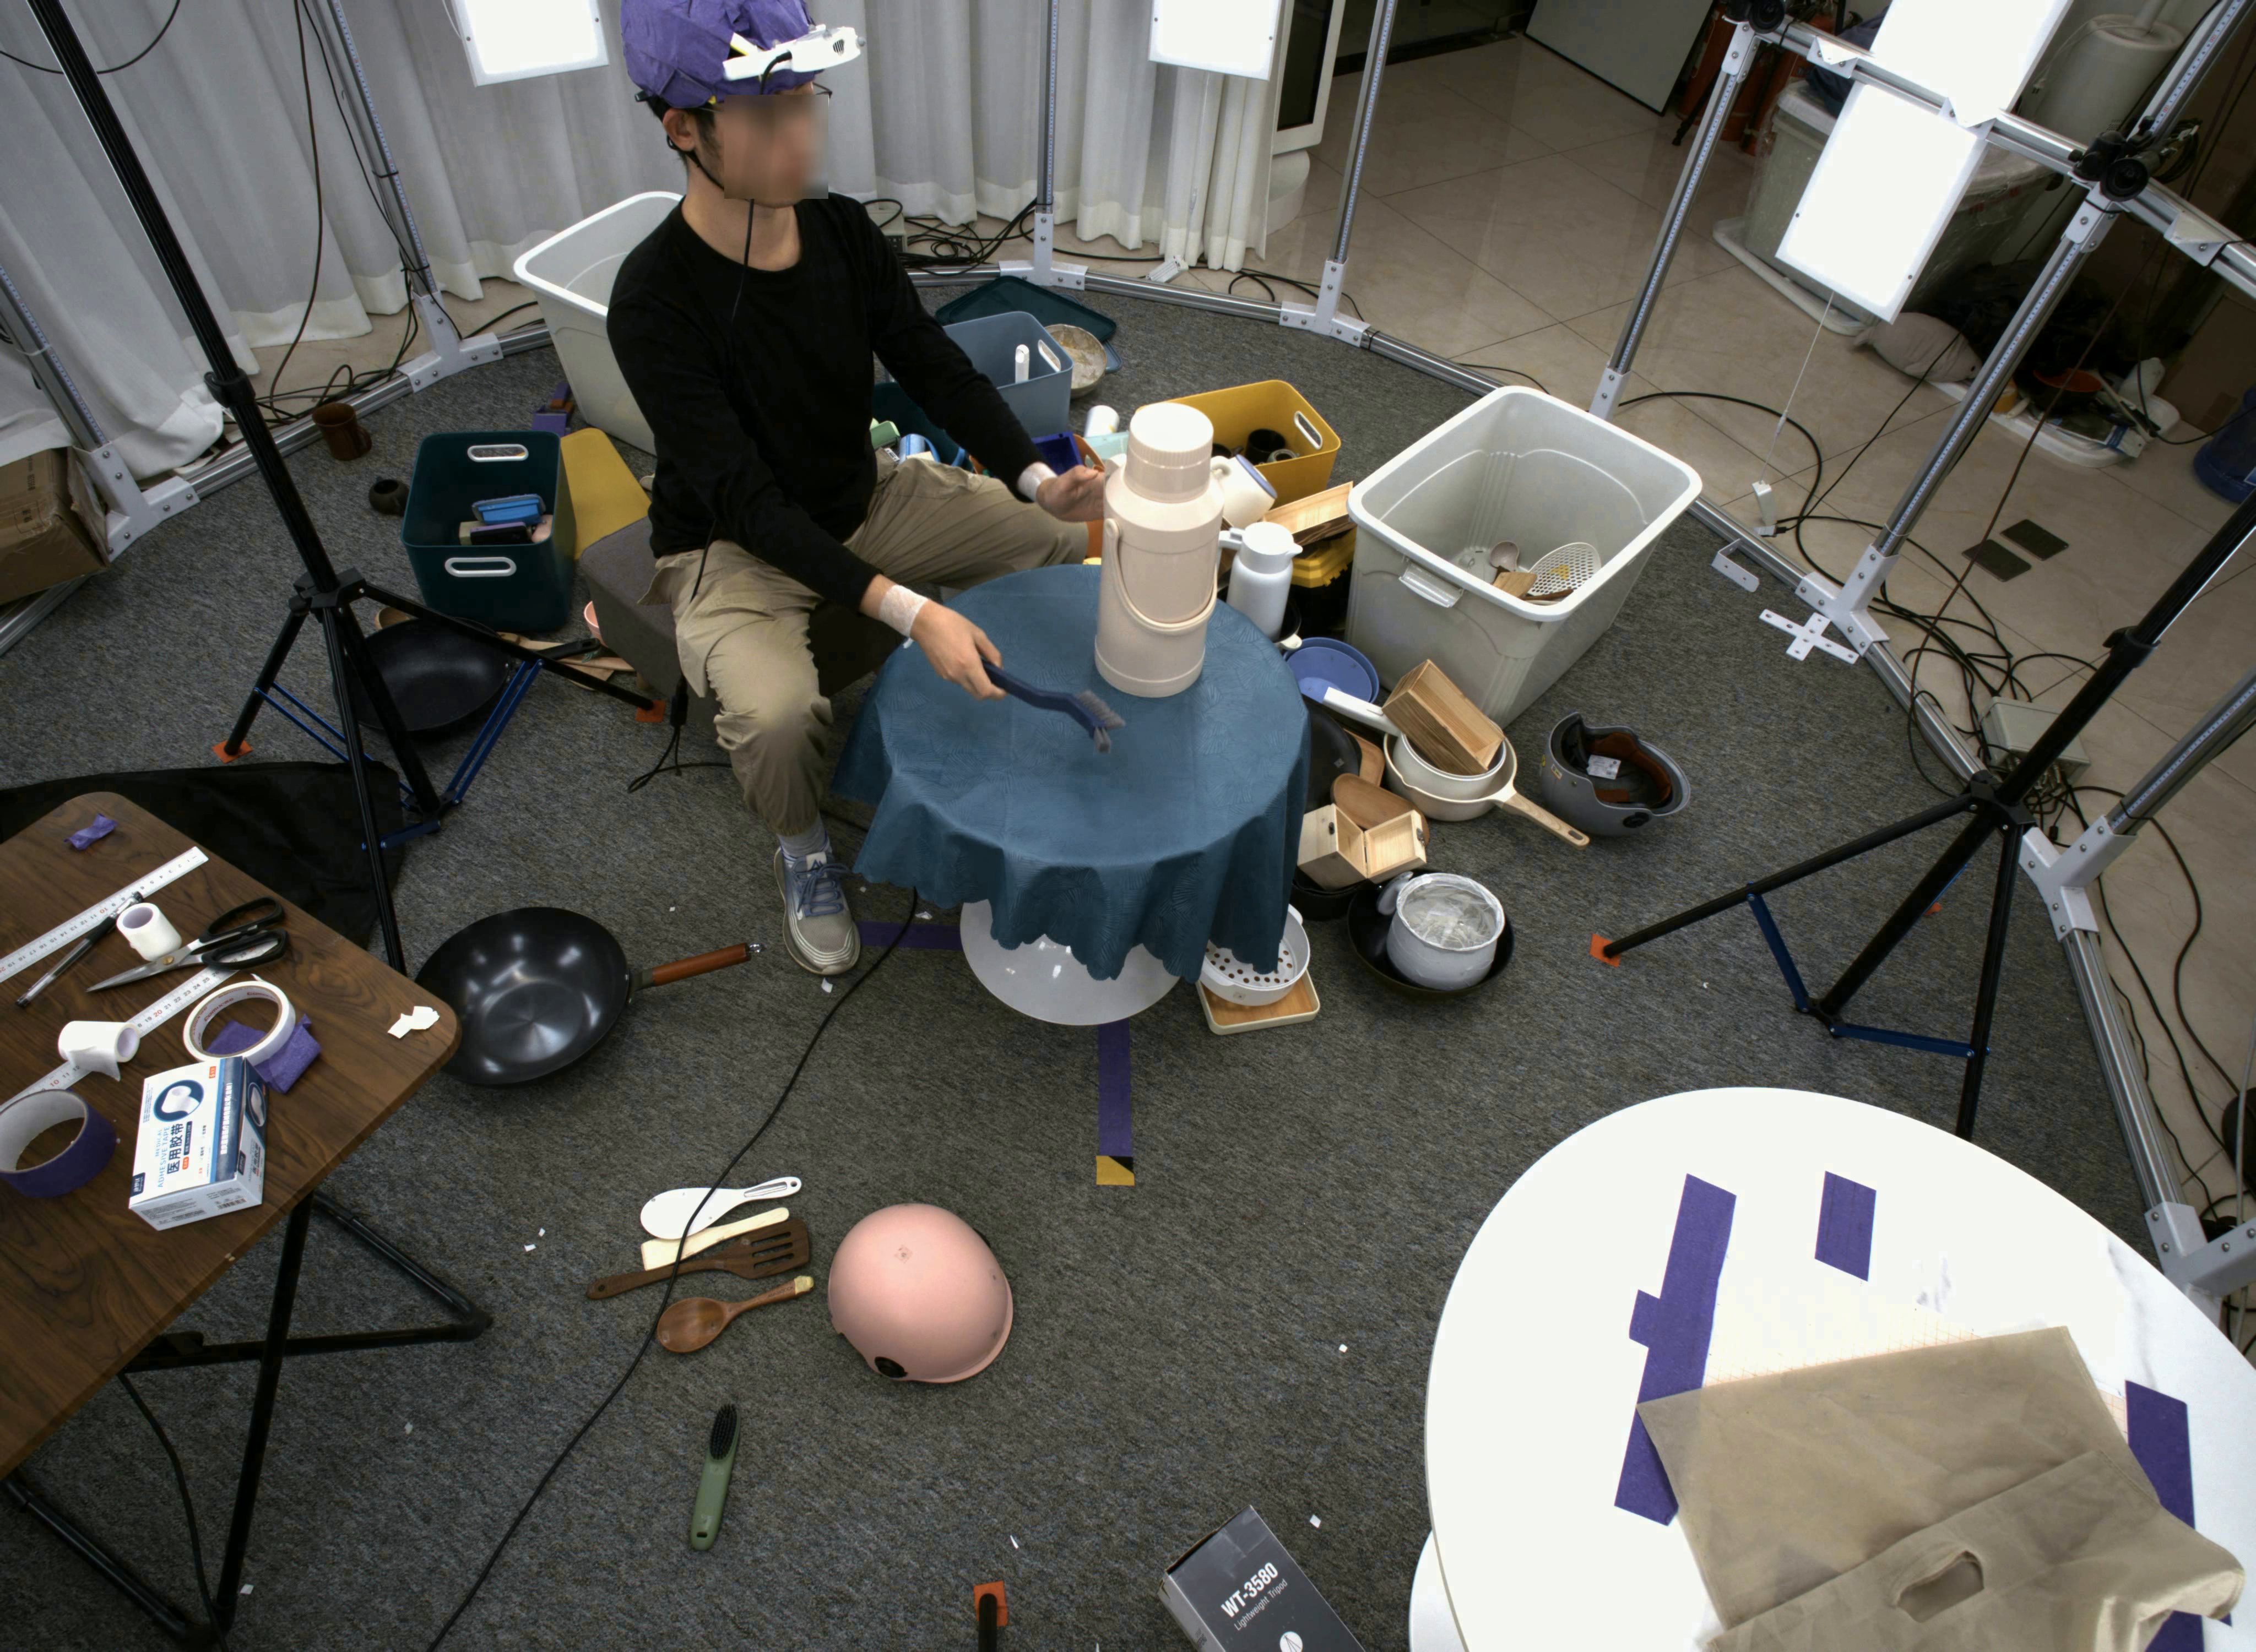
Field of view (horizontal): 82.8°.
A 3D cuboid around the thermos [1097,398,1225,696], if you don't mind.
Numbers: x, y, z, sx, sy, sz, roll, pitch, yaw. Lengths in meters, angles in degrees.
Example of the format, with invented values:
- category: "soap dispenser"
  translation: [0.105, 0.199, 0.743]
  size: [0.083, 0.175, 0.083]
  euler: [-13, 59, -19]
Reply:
- category: "thermos"
  translation: [0.036, -0.380, 1.746]
  size: [0.176, 0.396, 0.211]
  euler: [-28, 57, -24]

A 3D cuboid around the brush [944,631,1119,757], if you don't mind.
- category: "brush"
  translation: [-0.138, -0.178, 1.688]
  size: [0.275, 0.033, 0.097]
  euler: [24, 47, 13]
